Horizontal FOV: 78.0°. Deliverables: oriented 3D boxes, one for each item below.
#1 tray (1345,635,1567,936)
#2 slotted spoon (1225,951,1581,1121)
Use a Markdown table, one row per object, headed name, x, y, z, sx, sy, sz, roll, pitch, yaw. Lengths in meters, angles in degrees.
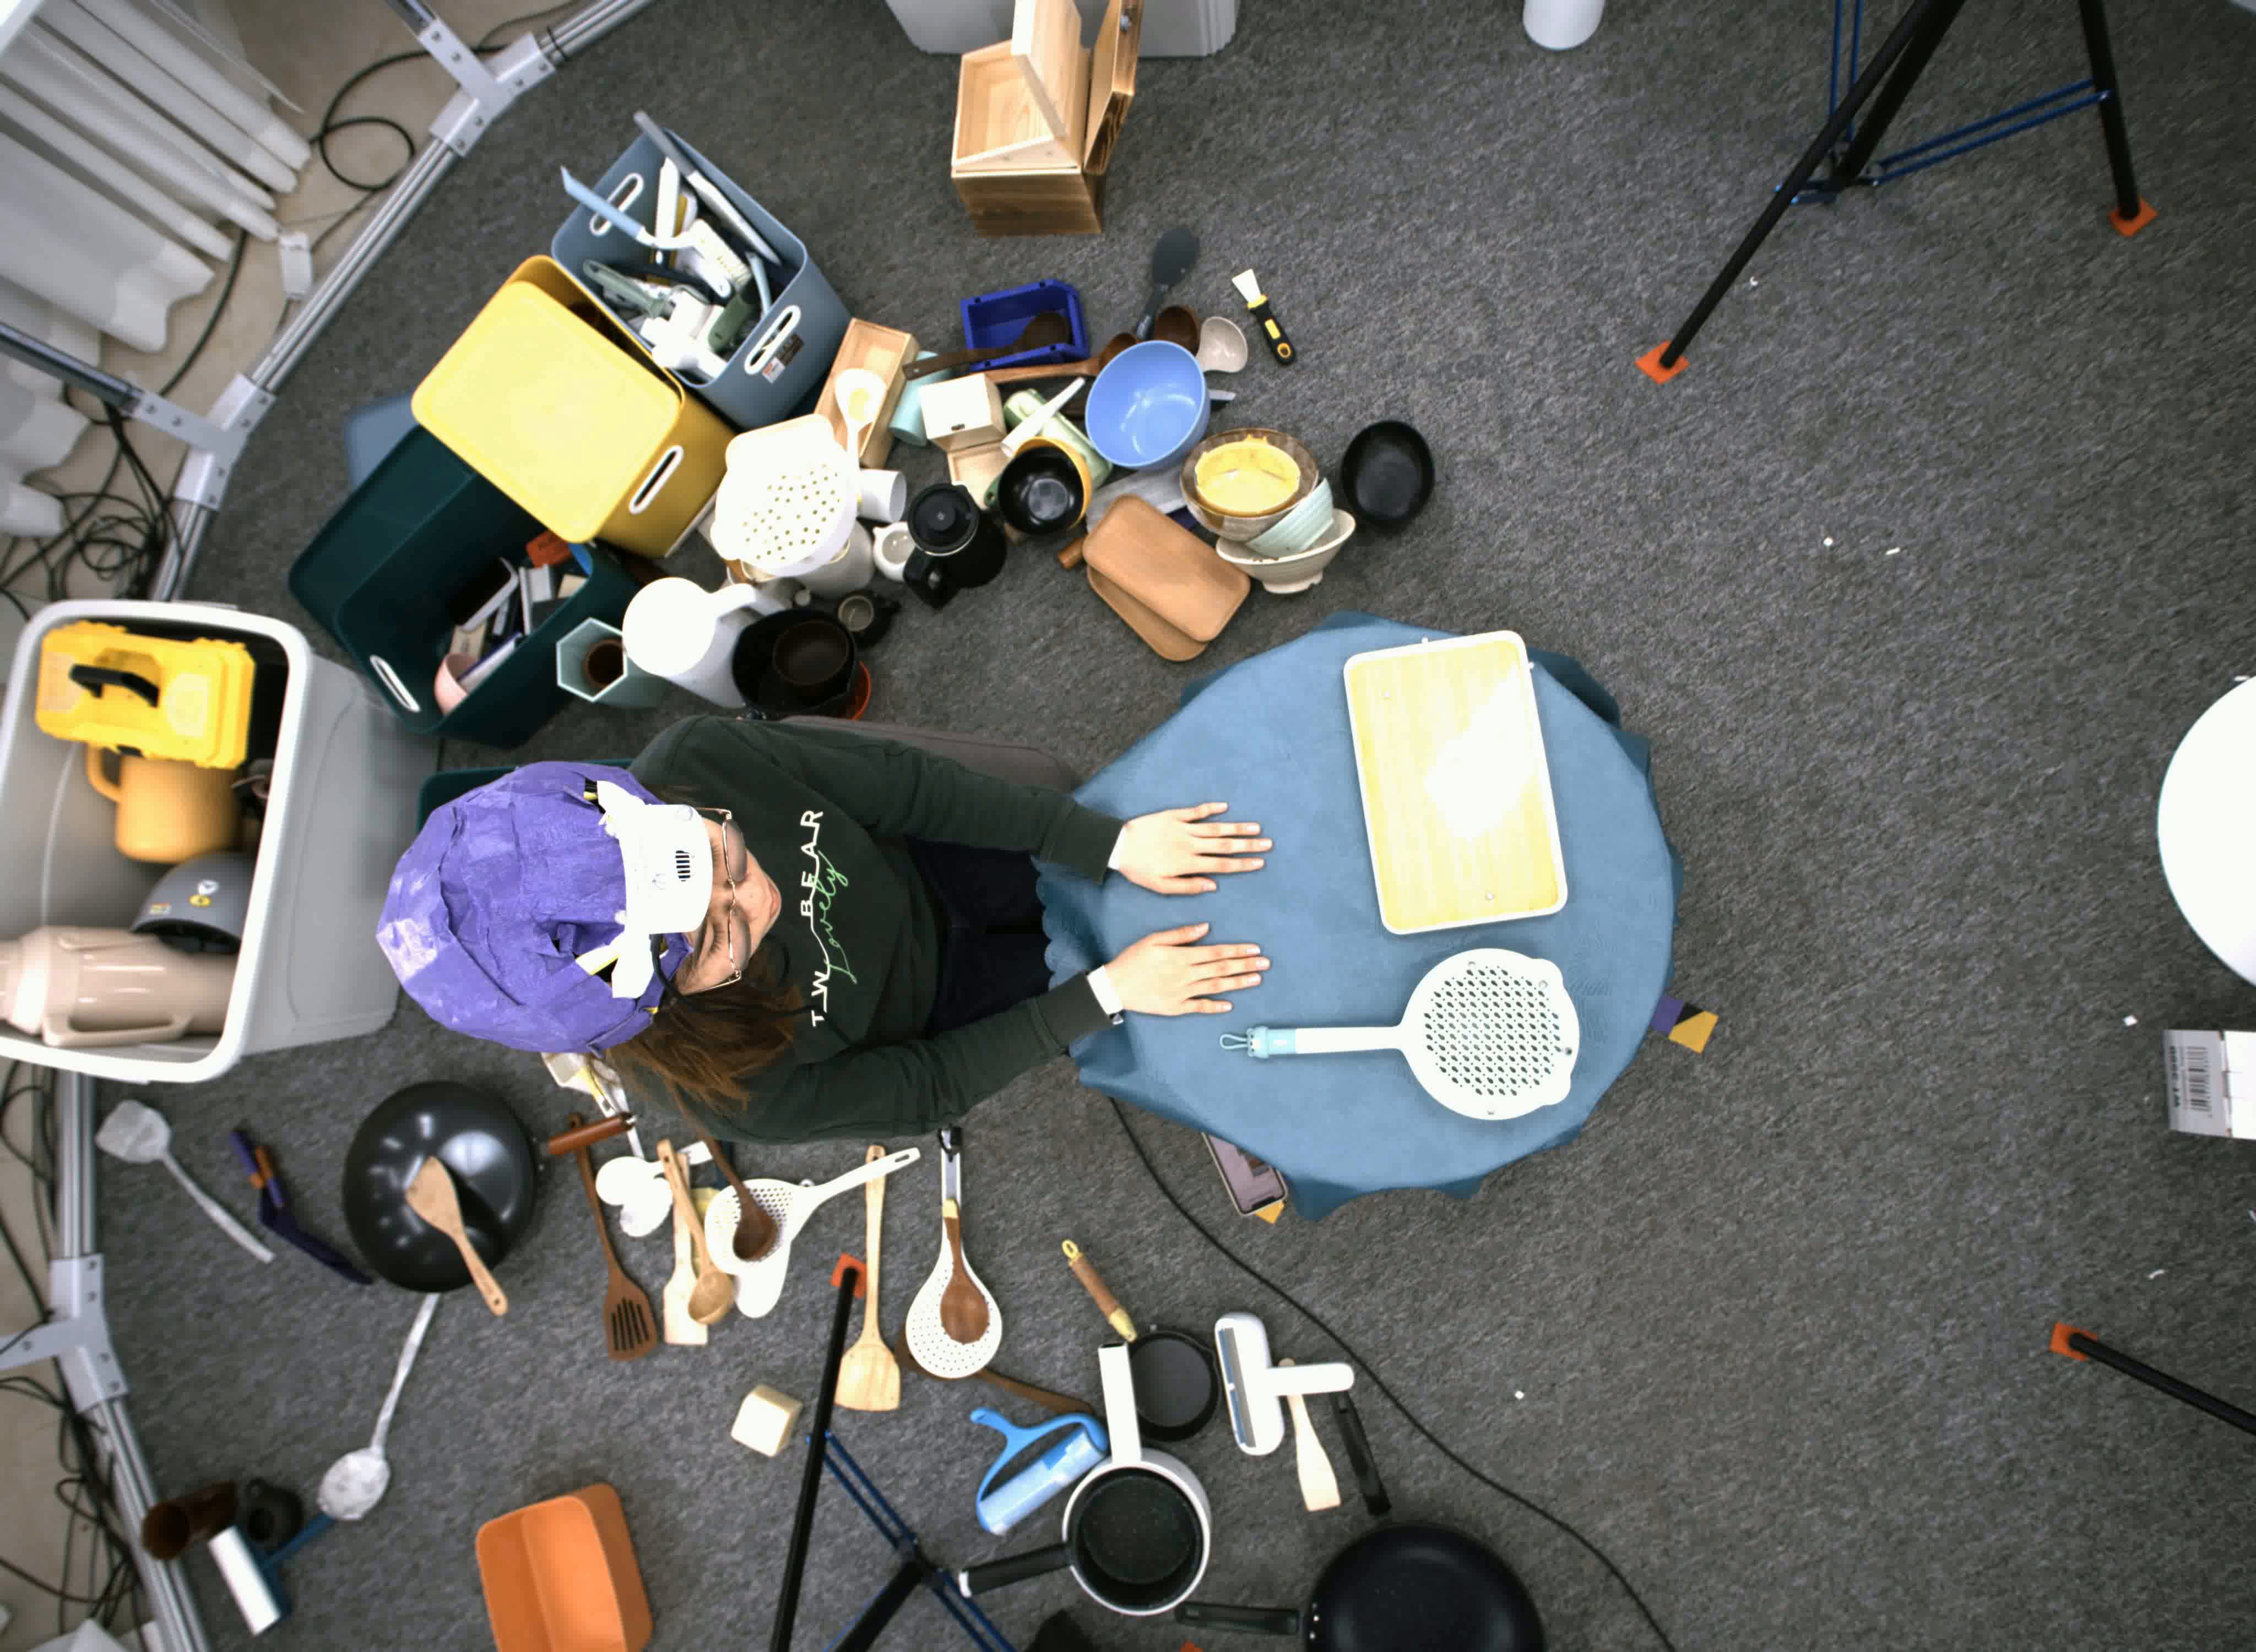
| name | x | y | z | sx | sy | sz | roll | pitch | yaw |
| --- | --- | --- | --- | --- | --- | --- | --- | --- | --- |
| tray | 0.342 | -0.044 | 1.446 | 0.192 | 0.027 | 0.298 | -8 | 84 | 10 |
| slotted spoon | 0.275 | 0.216 | 1.421 | 0.360 | 0.075 | 0.168 | -4 | 84 | 10 |
